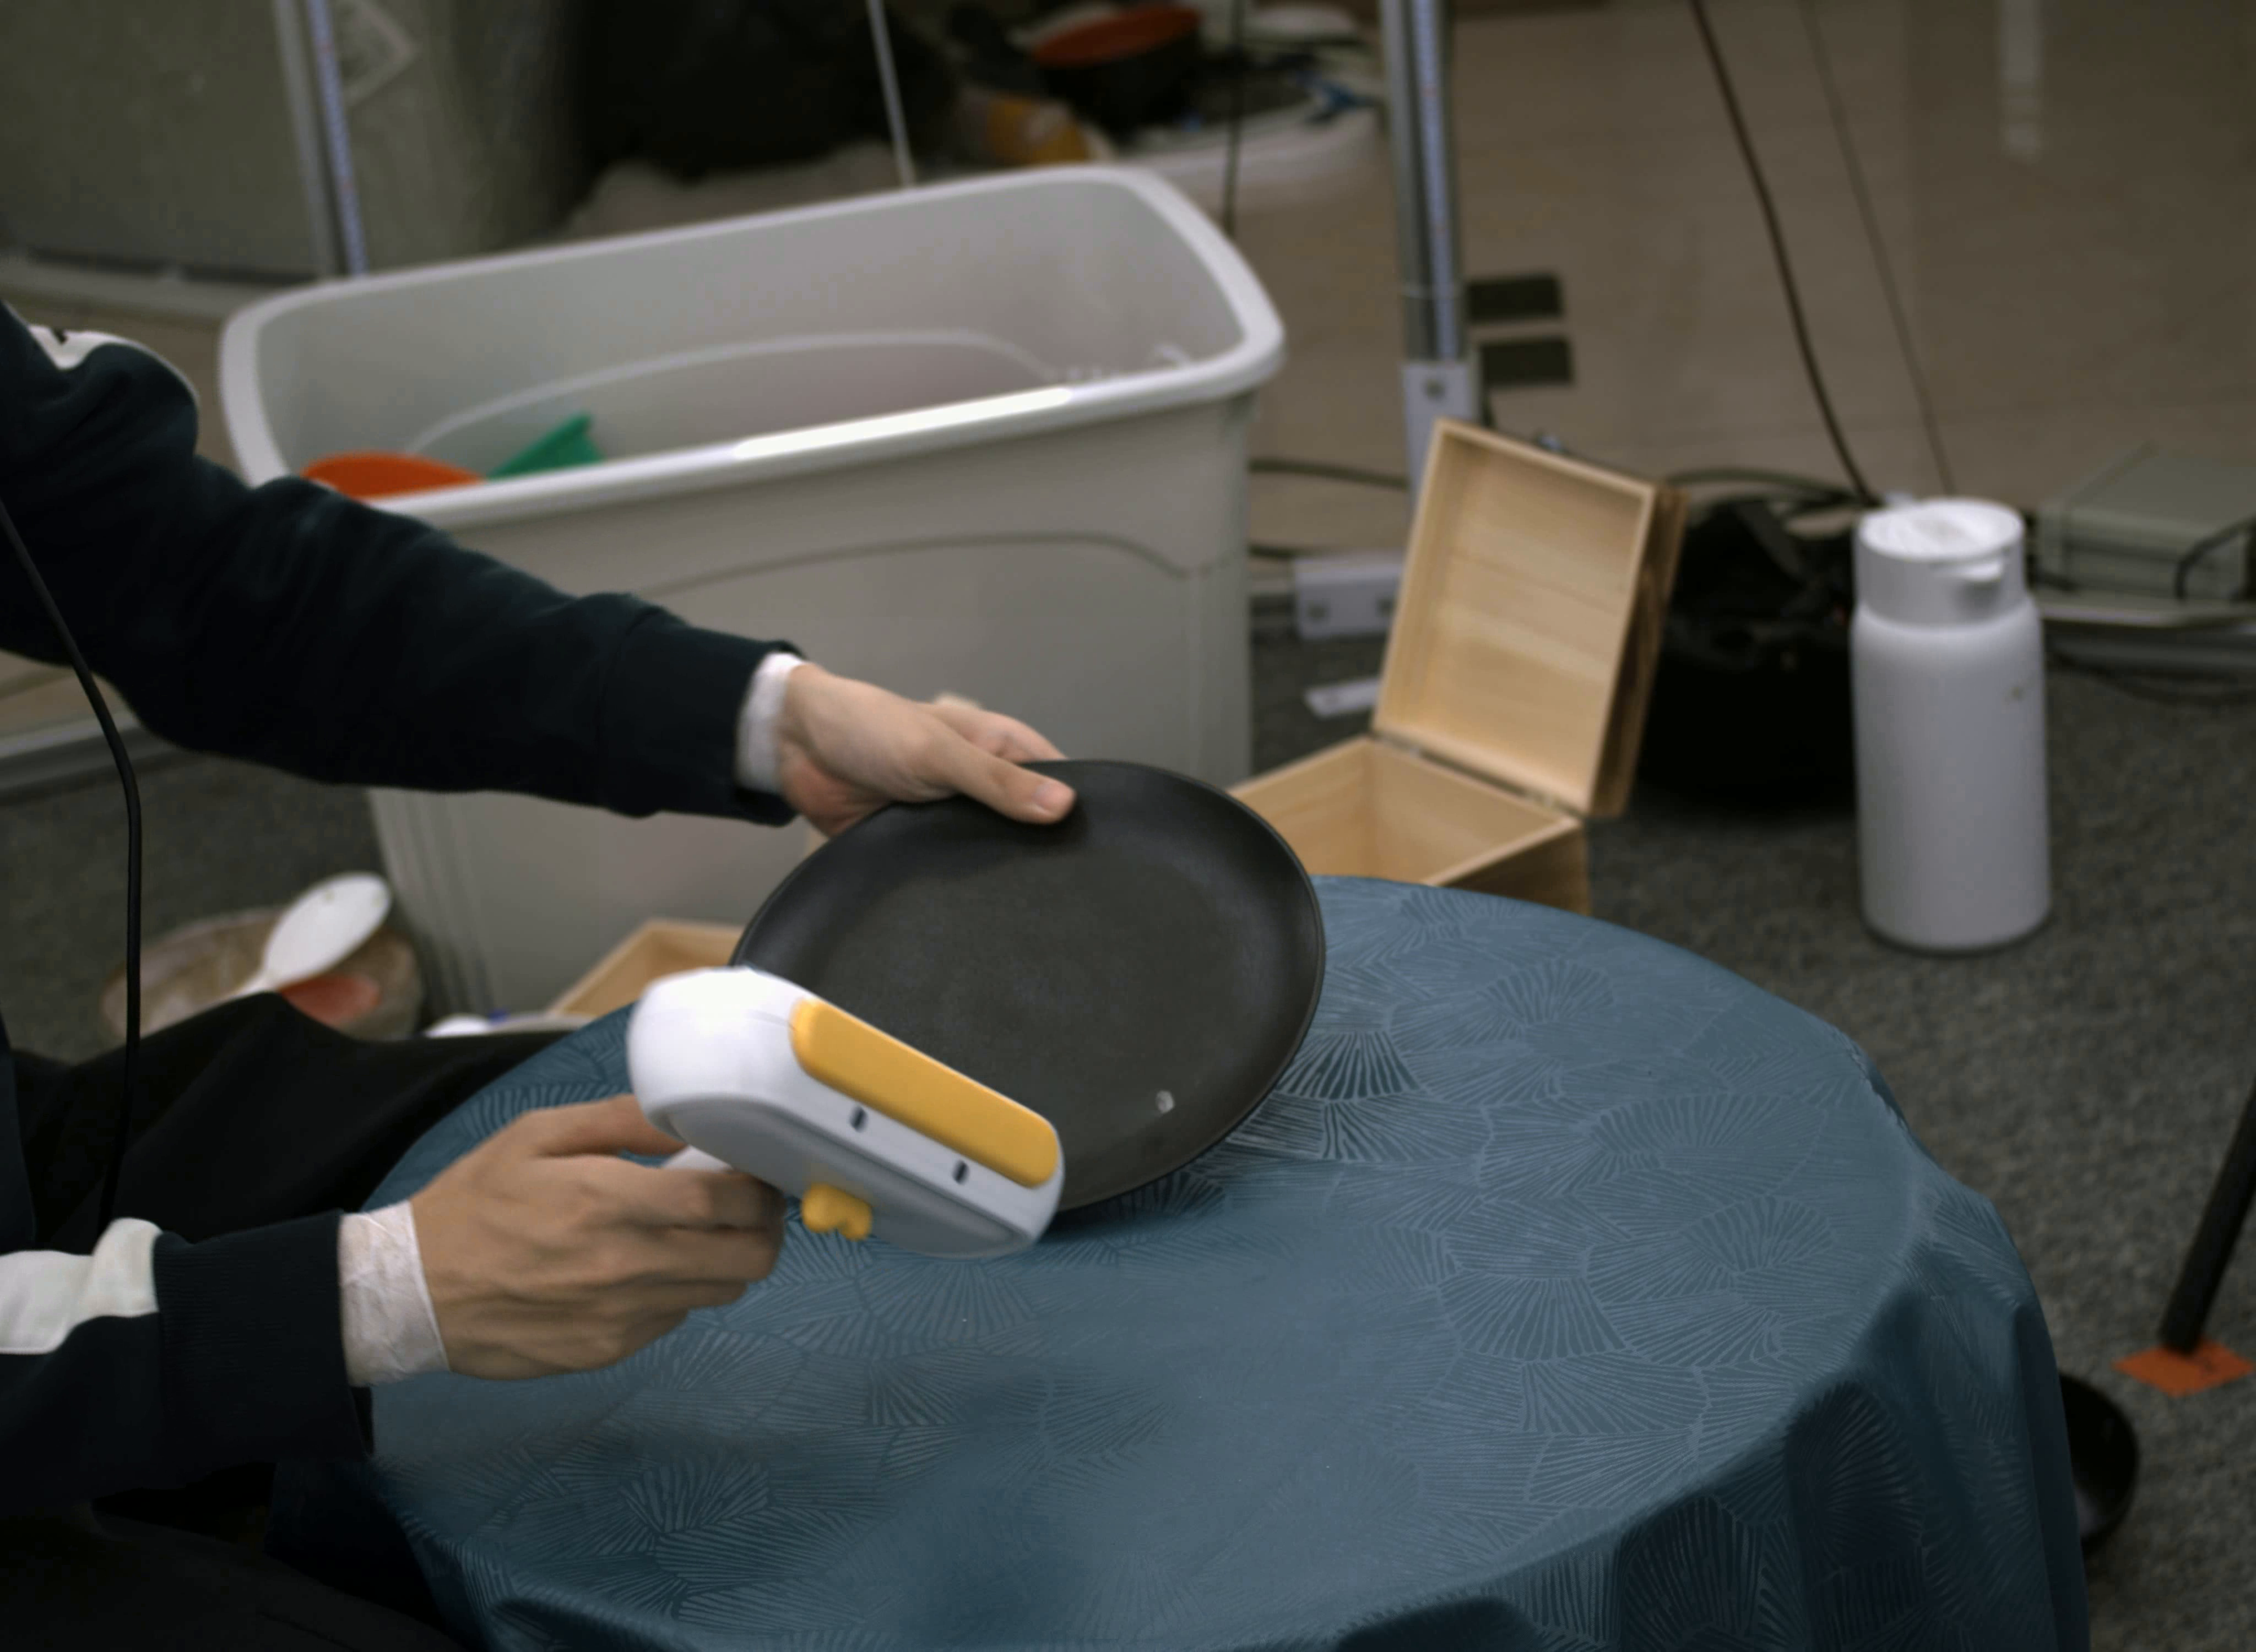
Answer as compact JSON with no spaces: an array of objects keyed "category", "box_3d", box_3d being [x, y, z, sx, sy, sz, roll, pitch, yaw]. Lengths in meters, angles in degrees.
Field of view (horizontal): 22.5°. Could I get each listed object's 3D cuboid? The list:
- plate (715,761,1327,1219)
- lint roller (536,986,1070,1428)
[{"category":"plate","box_3d":[-0.041,0.069,2.204,0.244,0.024,0.240,-7,46,8]},{"category":"lint roller","box_3d":[-0.138,0.141,1.969,0.194,0.194,0.073,-35,54,29]}]
